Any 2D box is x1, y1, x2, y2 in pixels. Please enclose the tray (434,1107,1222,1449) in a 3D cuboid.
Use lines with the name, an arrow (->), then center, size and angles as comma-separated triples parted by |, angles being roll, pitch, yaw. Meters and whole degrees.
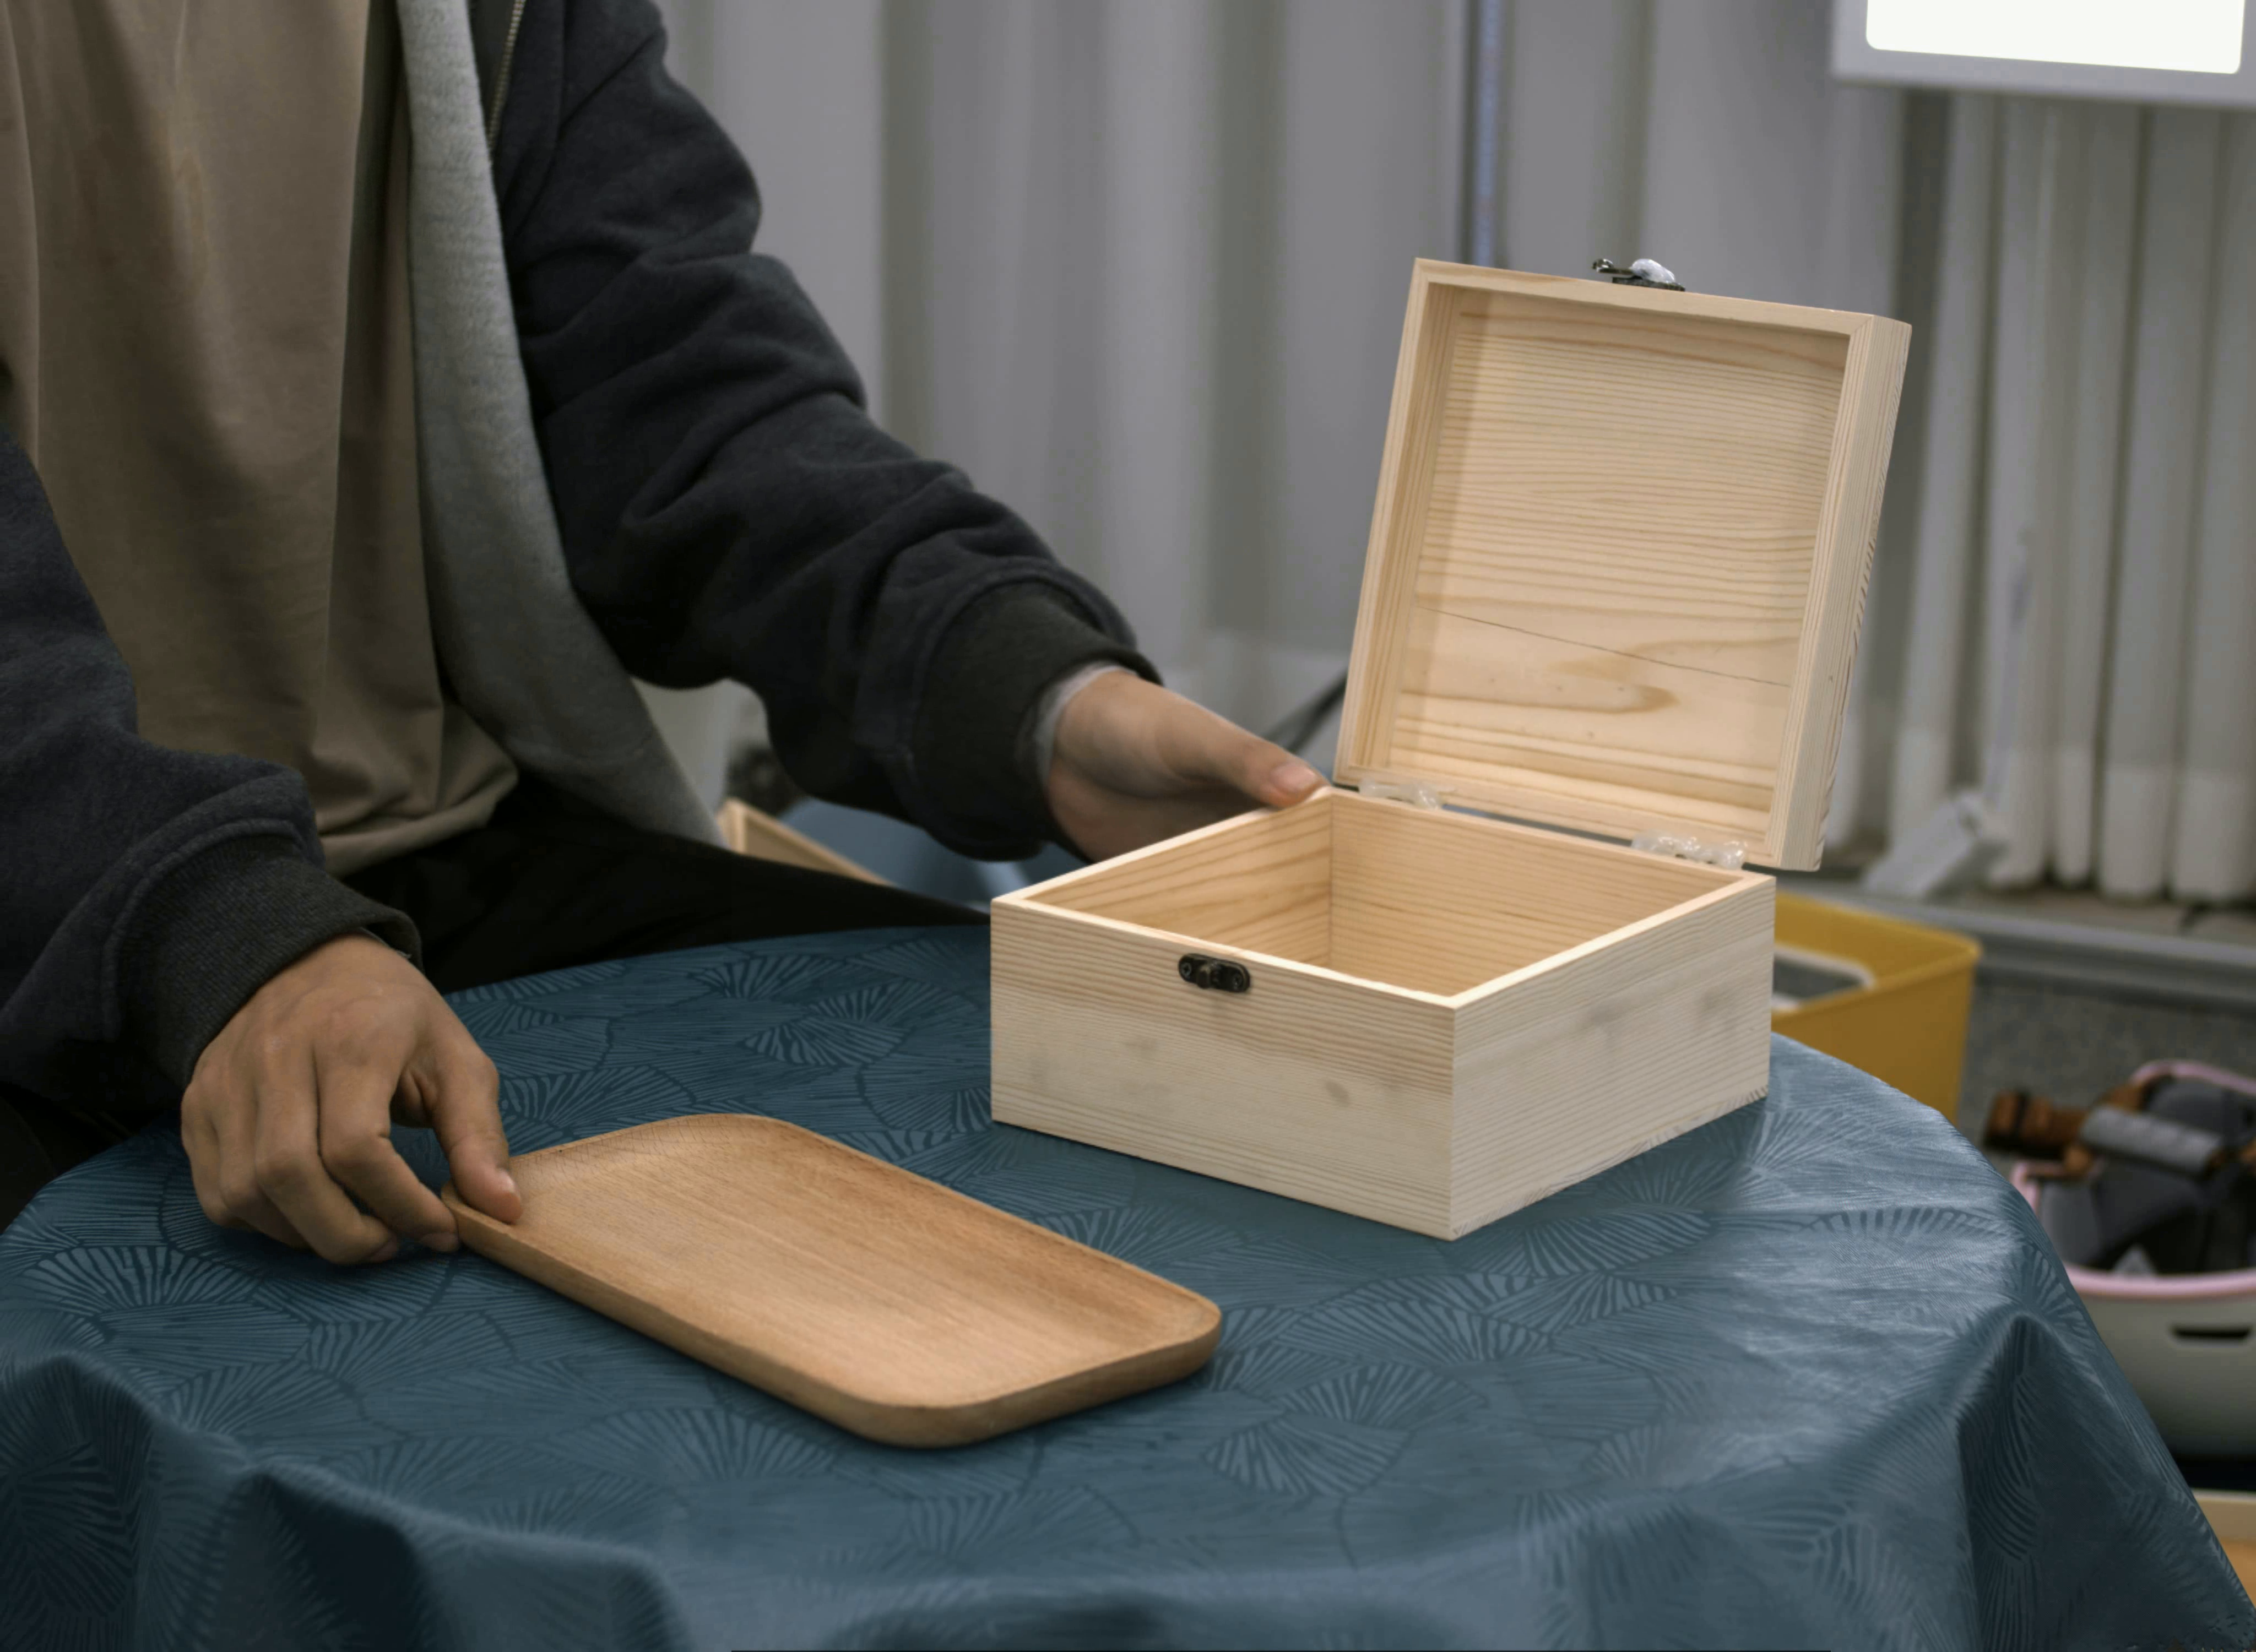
tray -> -0.091, 0.128, 1.528 | 0.131, 0.023, 0.247 | -9, 17, -39

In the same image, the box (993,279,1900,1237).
box -> 0.103, -0.034, 1.695 | 0.179, 0.255, 0.266 | 9, 17, 36
